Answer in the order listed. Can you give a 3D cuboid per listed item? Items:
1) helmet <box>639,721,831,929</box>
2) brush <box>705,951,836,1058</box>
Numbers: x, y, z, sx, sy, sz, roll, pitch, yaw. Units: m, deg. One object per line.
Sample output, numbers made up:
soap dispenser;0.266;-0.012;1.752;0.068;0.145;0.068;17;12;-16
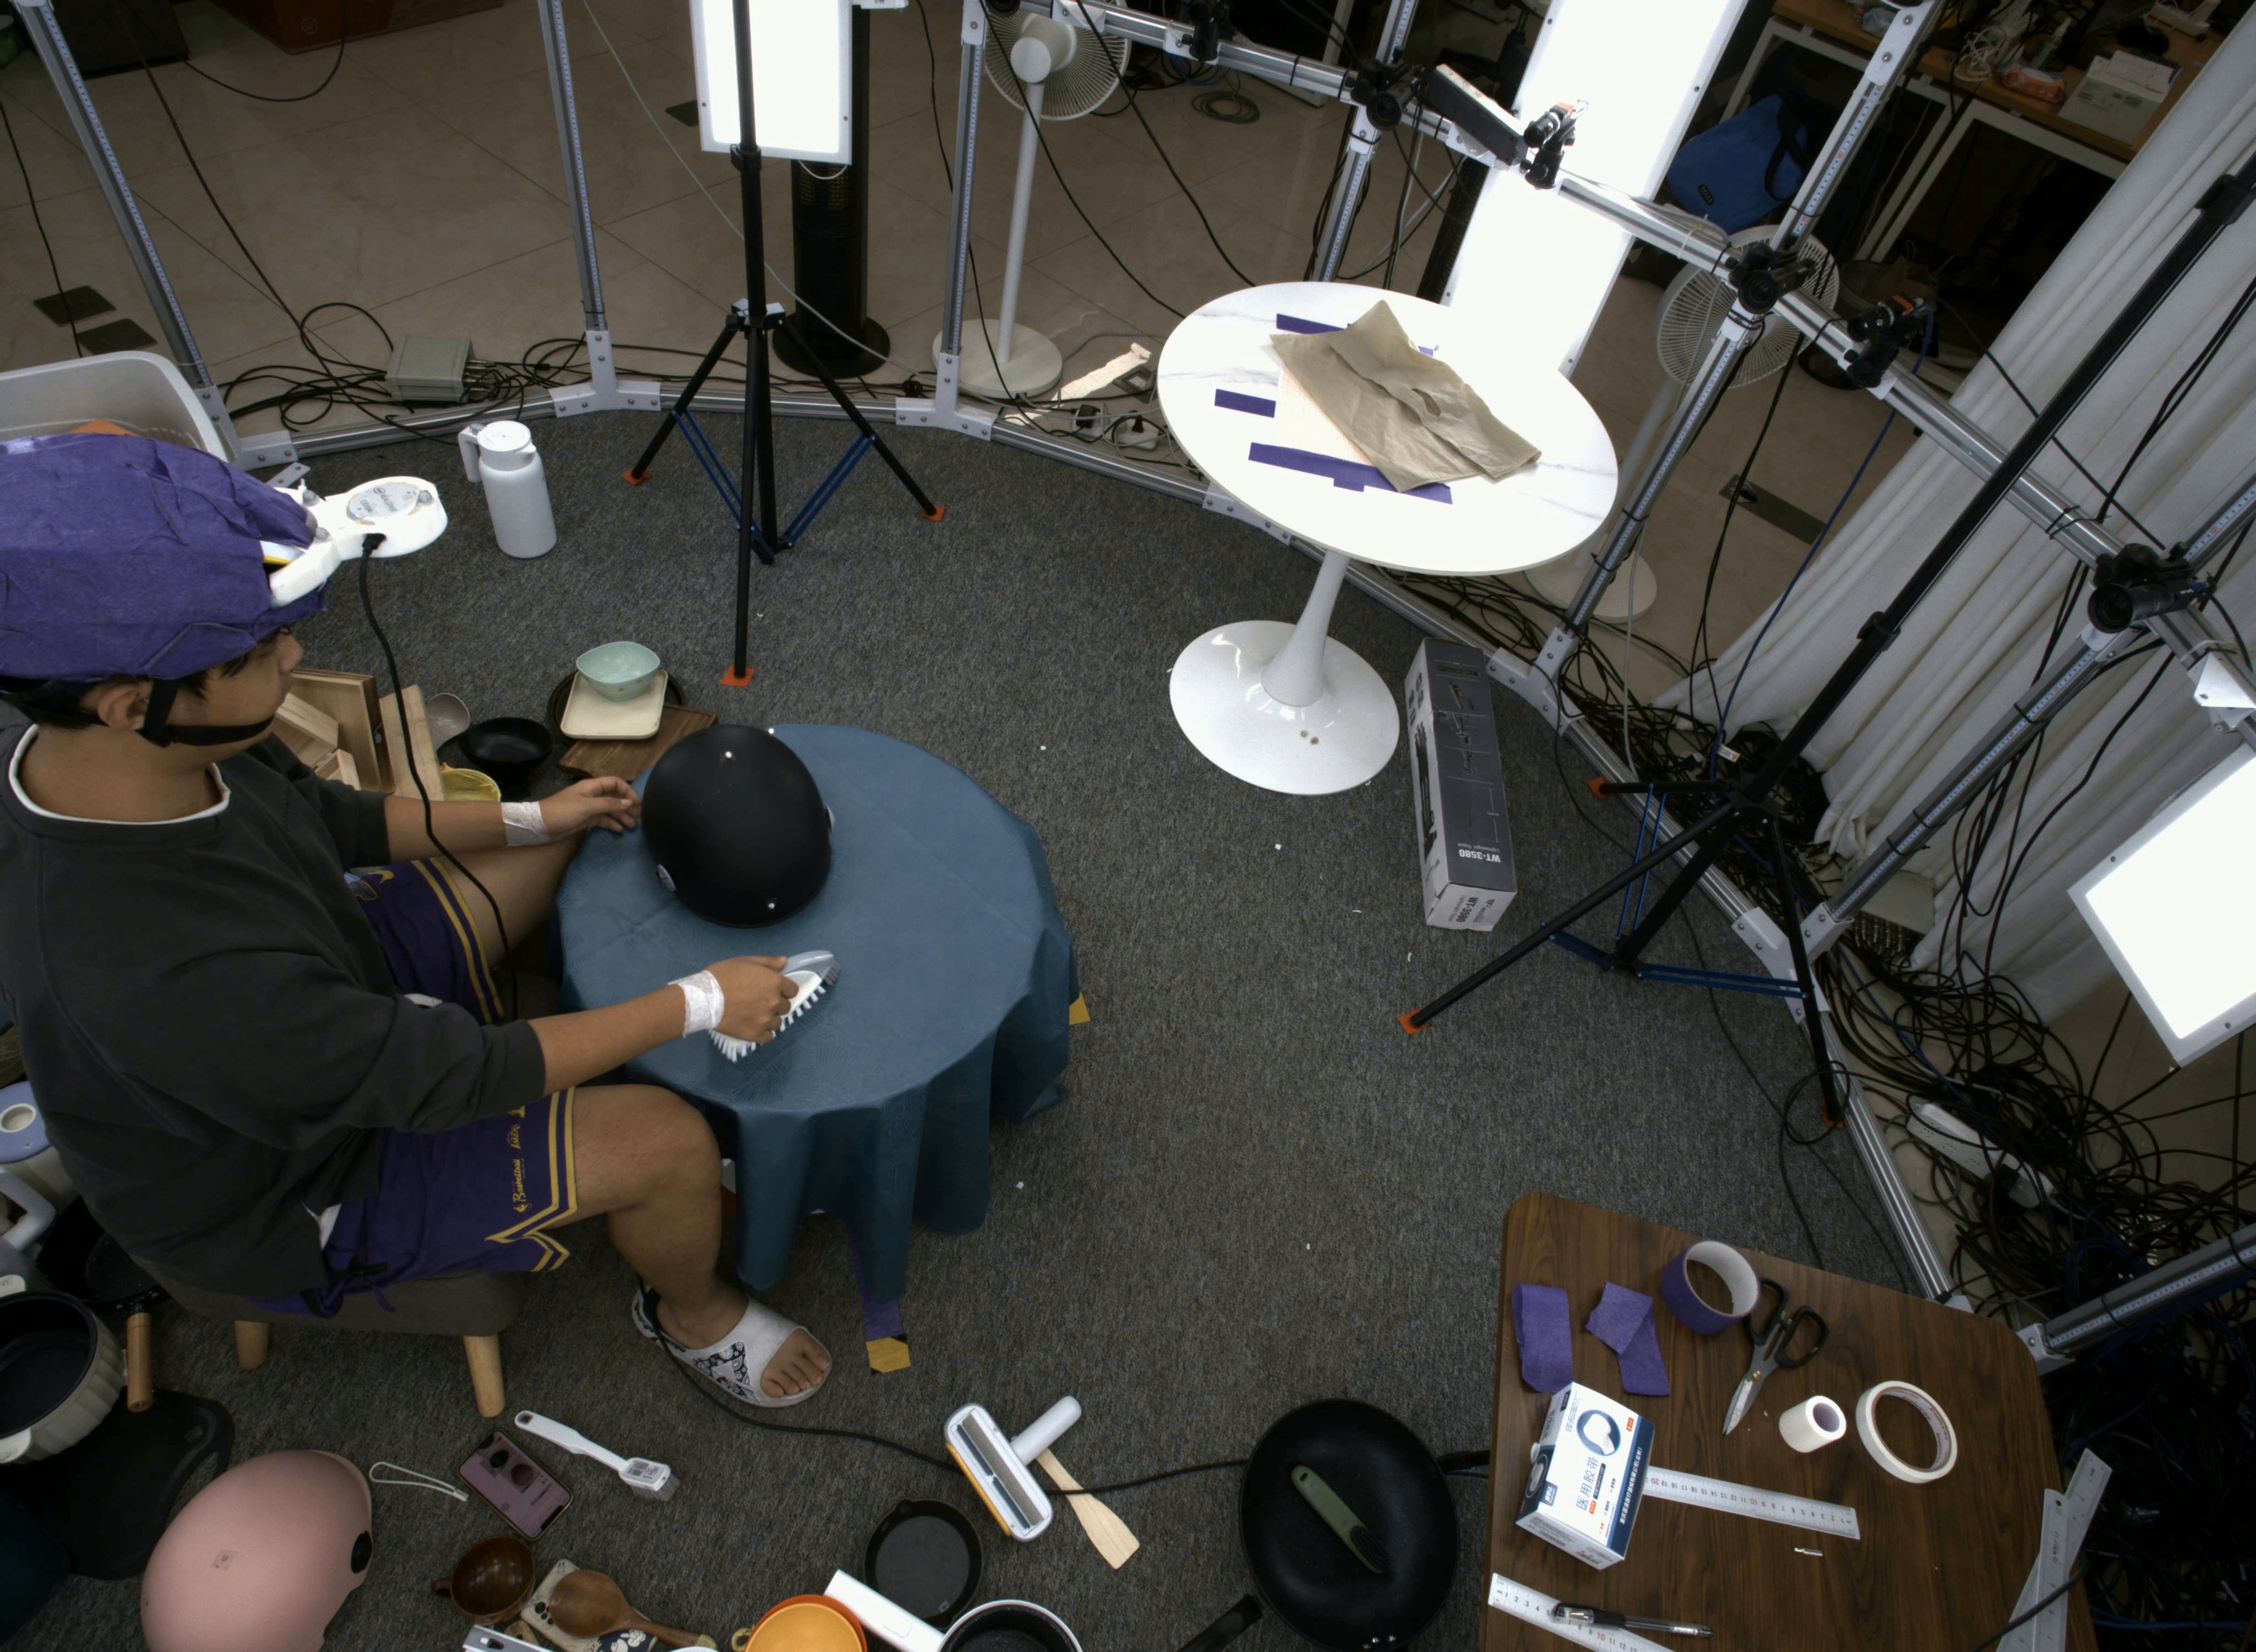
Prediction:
helmet;-0.497;-0.024;1.625;0.231;0.170;0.267;-21;63;-26
brush;-0.417;0.189;1.529;0.176;0.096;0.060;-32;64;-35
